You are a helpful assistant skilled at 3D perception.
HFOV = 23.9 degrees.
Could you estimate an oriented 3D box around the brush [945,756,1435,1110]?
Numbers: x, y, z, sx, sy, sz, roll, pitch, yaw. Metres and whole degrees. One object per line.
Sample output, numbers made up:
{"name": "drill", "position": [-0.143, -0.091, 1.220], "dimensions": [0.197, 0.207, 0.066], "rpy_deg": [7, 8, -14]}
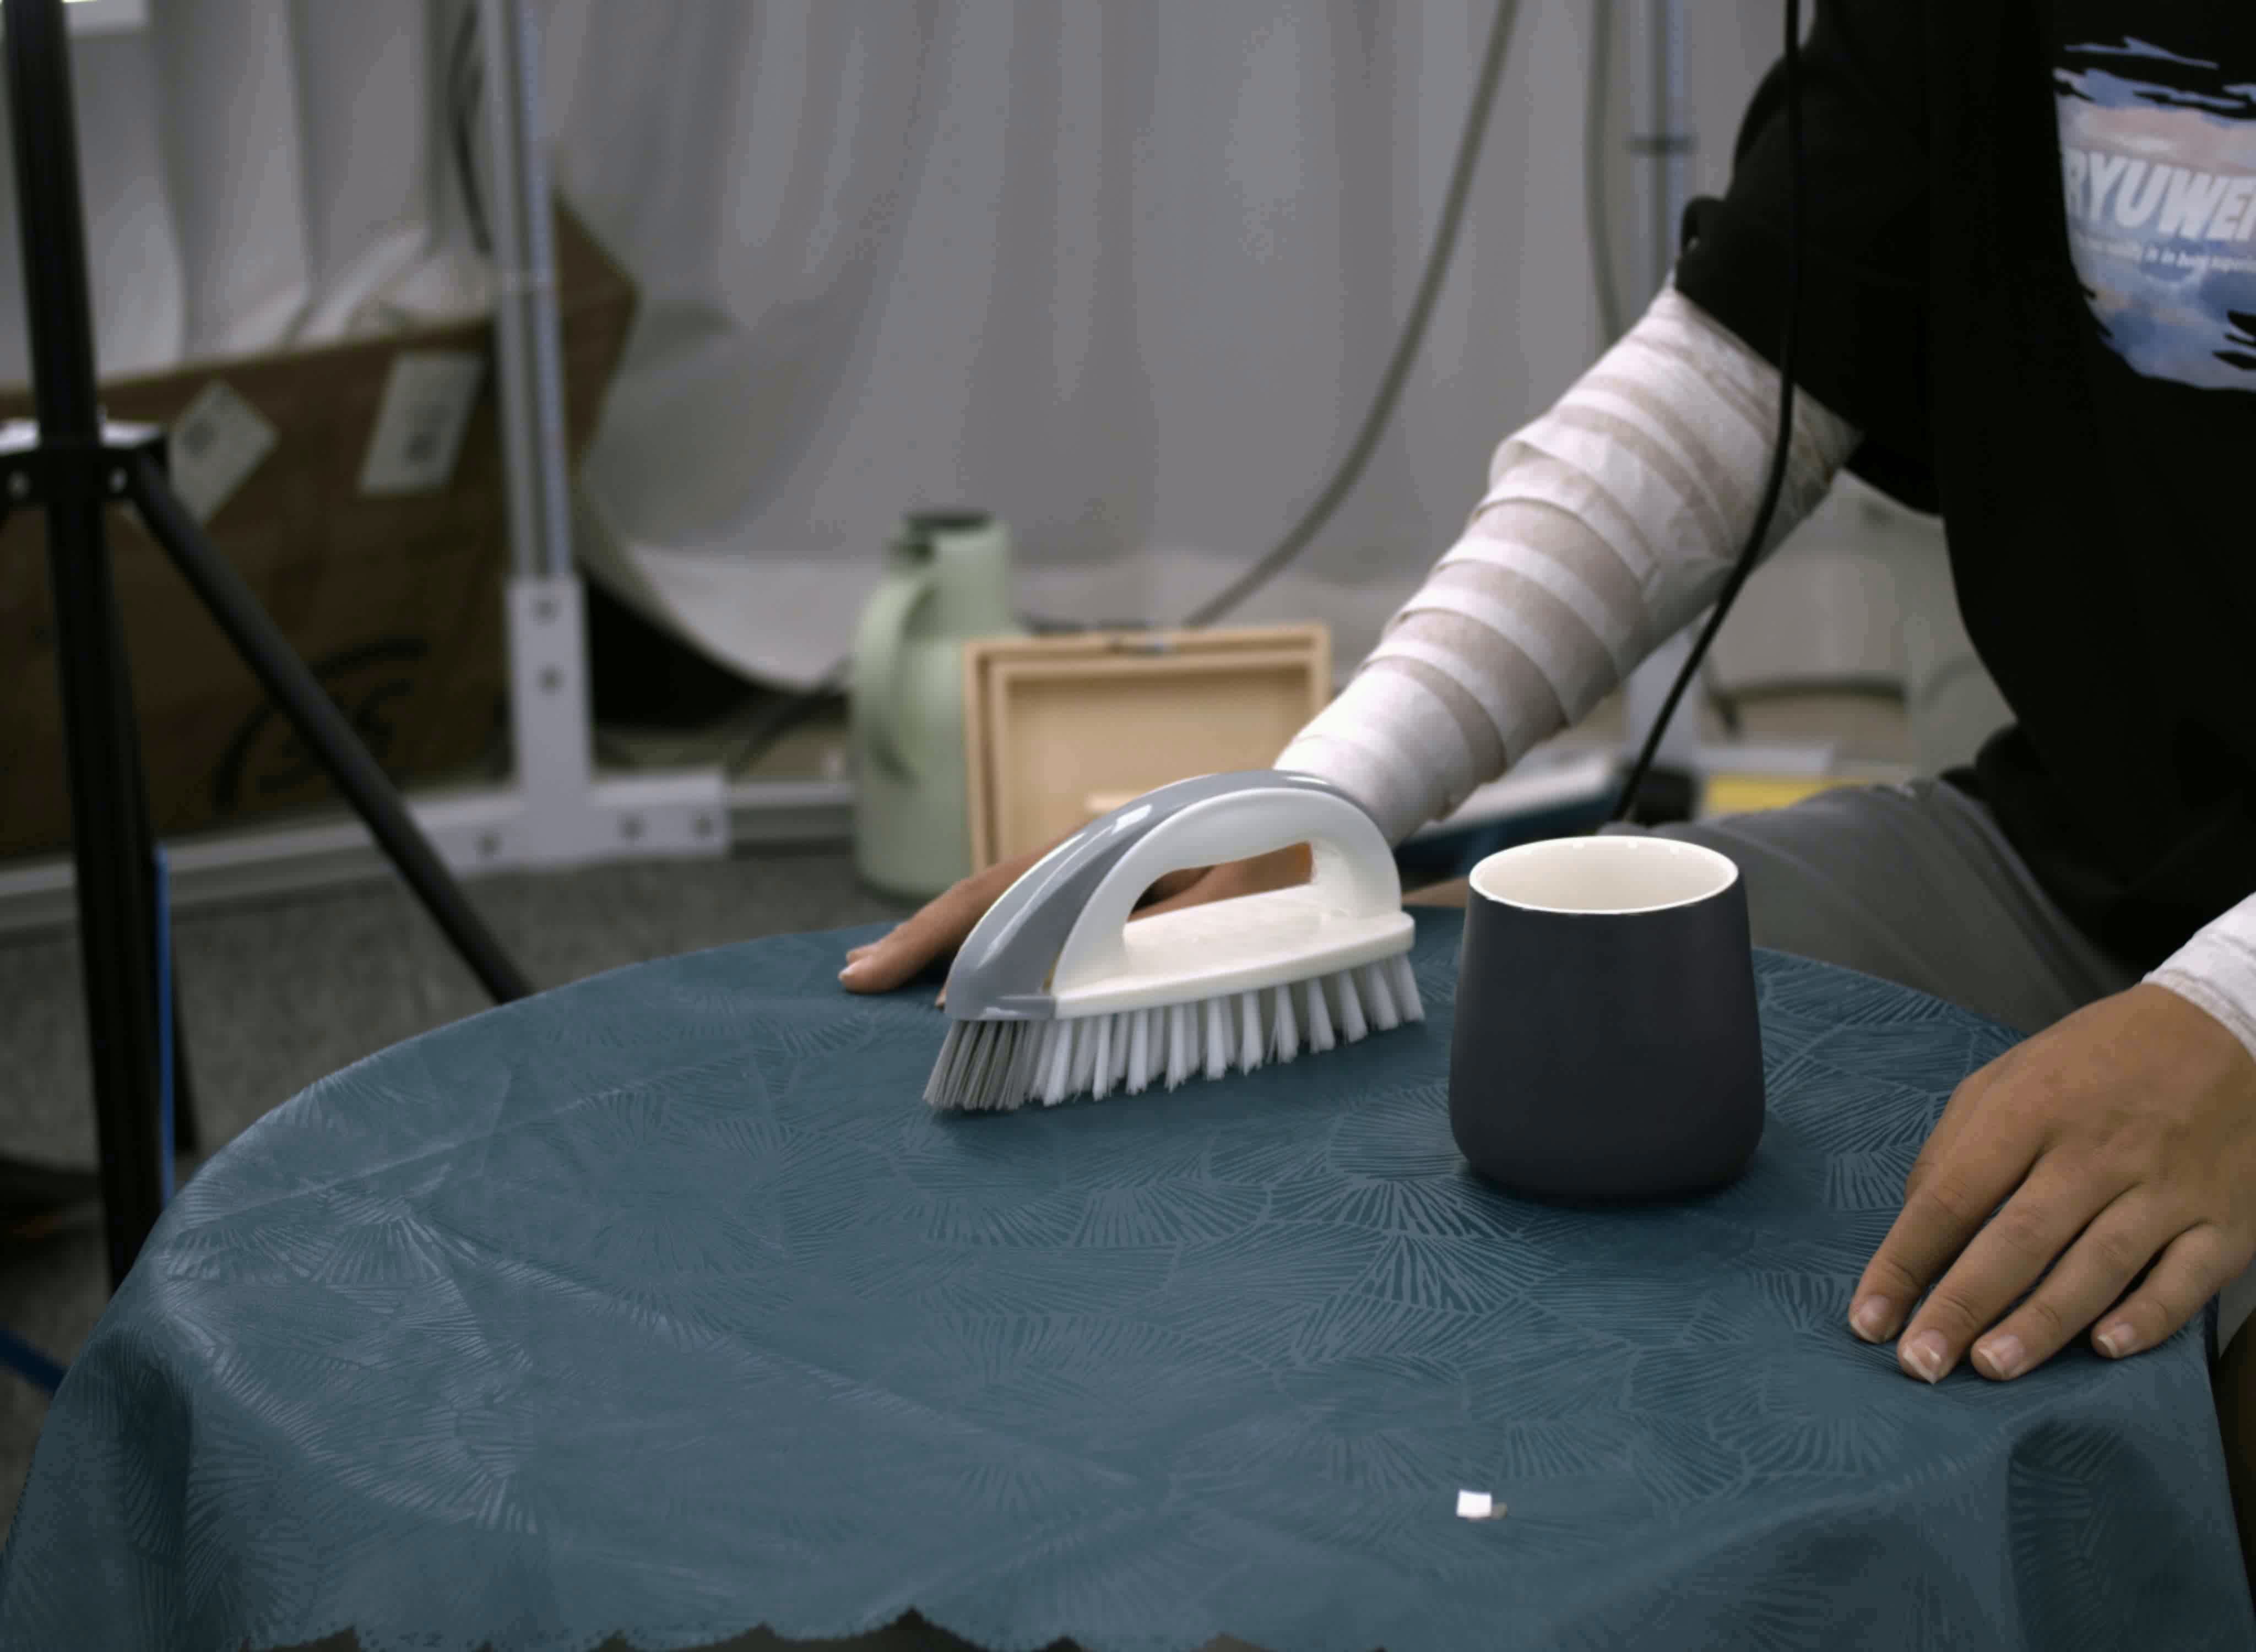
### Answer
{"name": "brush", "position": [0.014, 0.031, 1.663], "dimensions": [0.172, 0.094, 0.063], "rpy_deg": [-13, 17, -30]}

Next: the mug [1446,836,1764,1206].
{"name": "mug", "position": [0.149, 0.054, 1.564], "dimensions": [0.095, 0.090, 0.120], "rpy_deg": [10, 20, 37]}
